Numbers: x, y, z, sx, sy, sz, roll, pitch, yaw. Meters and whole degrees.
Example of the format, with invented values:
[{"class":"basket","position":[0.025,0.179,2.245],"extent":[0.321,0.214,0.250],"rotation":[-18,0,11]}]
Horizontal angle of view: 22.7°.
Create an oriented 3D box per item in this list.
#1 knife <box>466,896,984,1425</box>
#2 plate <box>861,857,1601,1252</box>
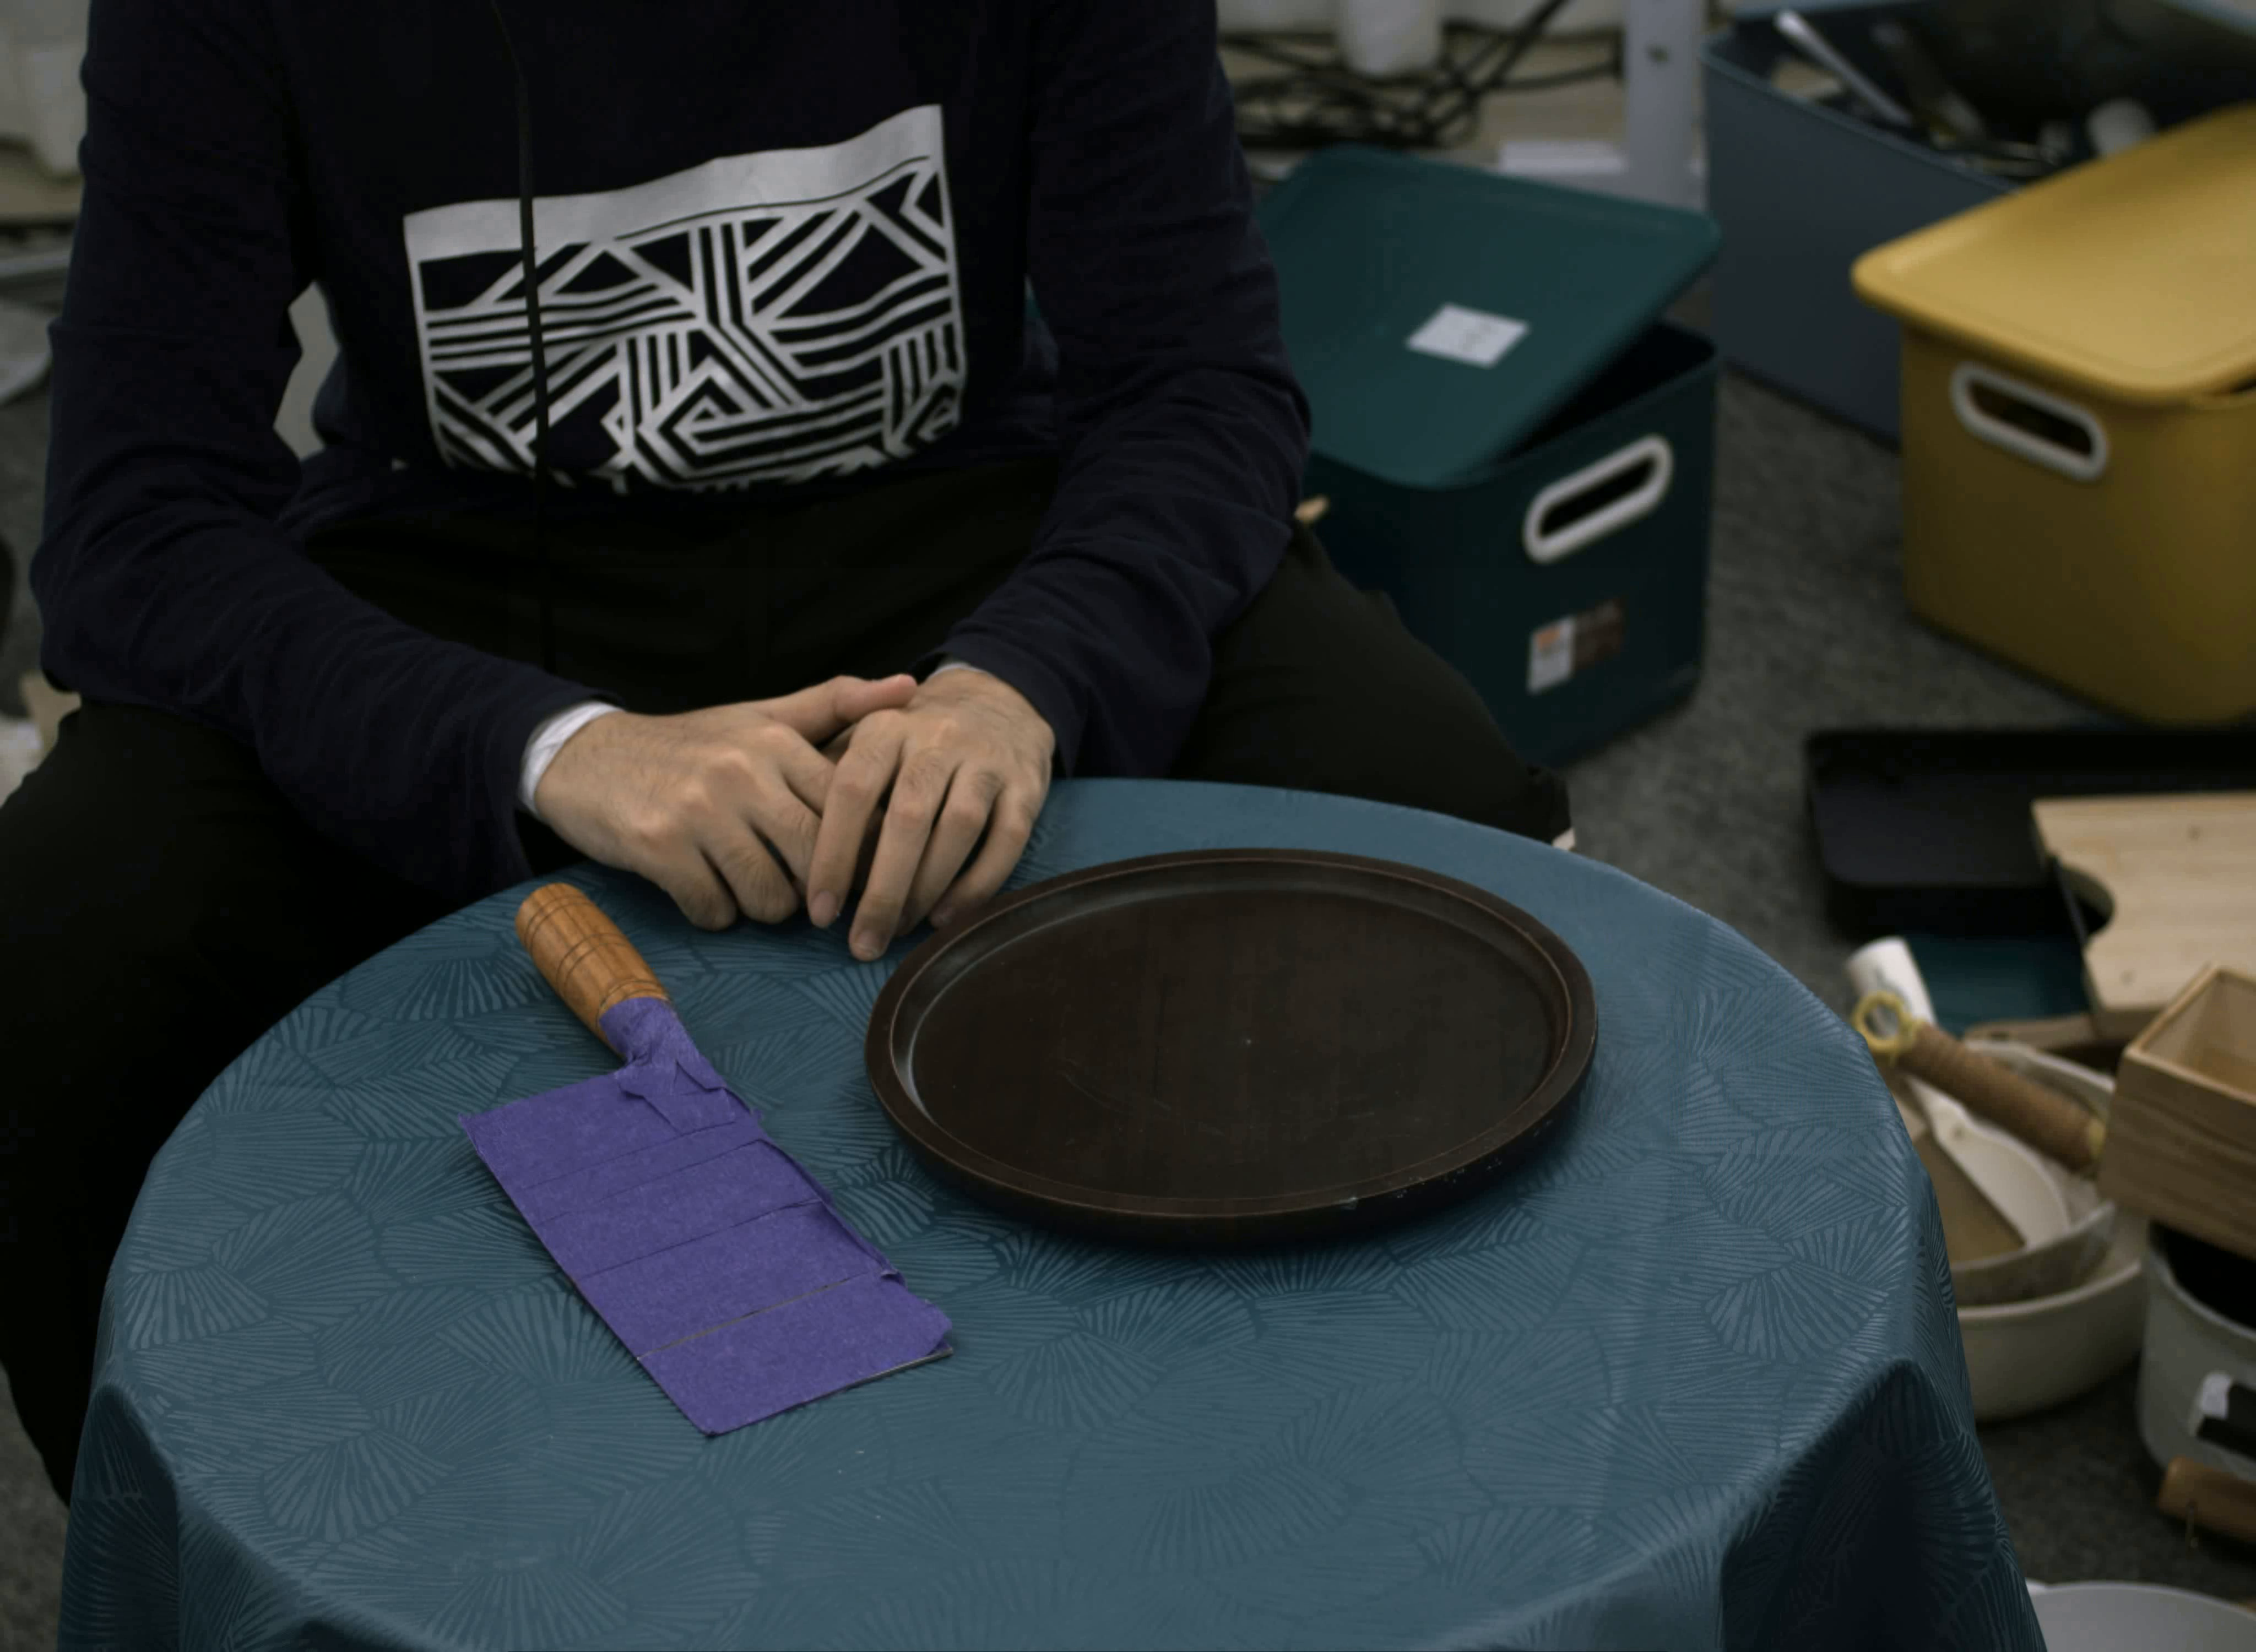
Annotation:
[{"class":"knife","position":[-0.163,0.107,1.875],"extent":[0.104,0.032,0.317],"rotation":[-16,30,-24]},{"class":"plate","position":[0.035,0.076,1.921],"extent":[0.253,0.029,0.259],"rotation":[-2,28,1]}]
